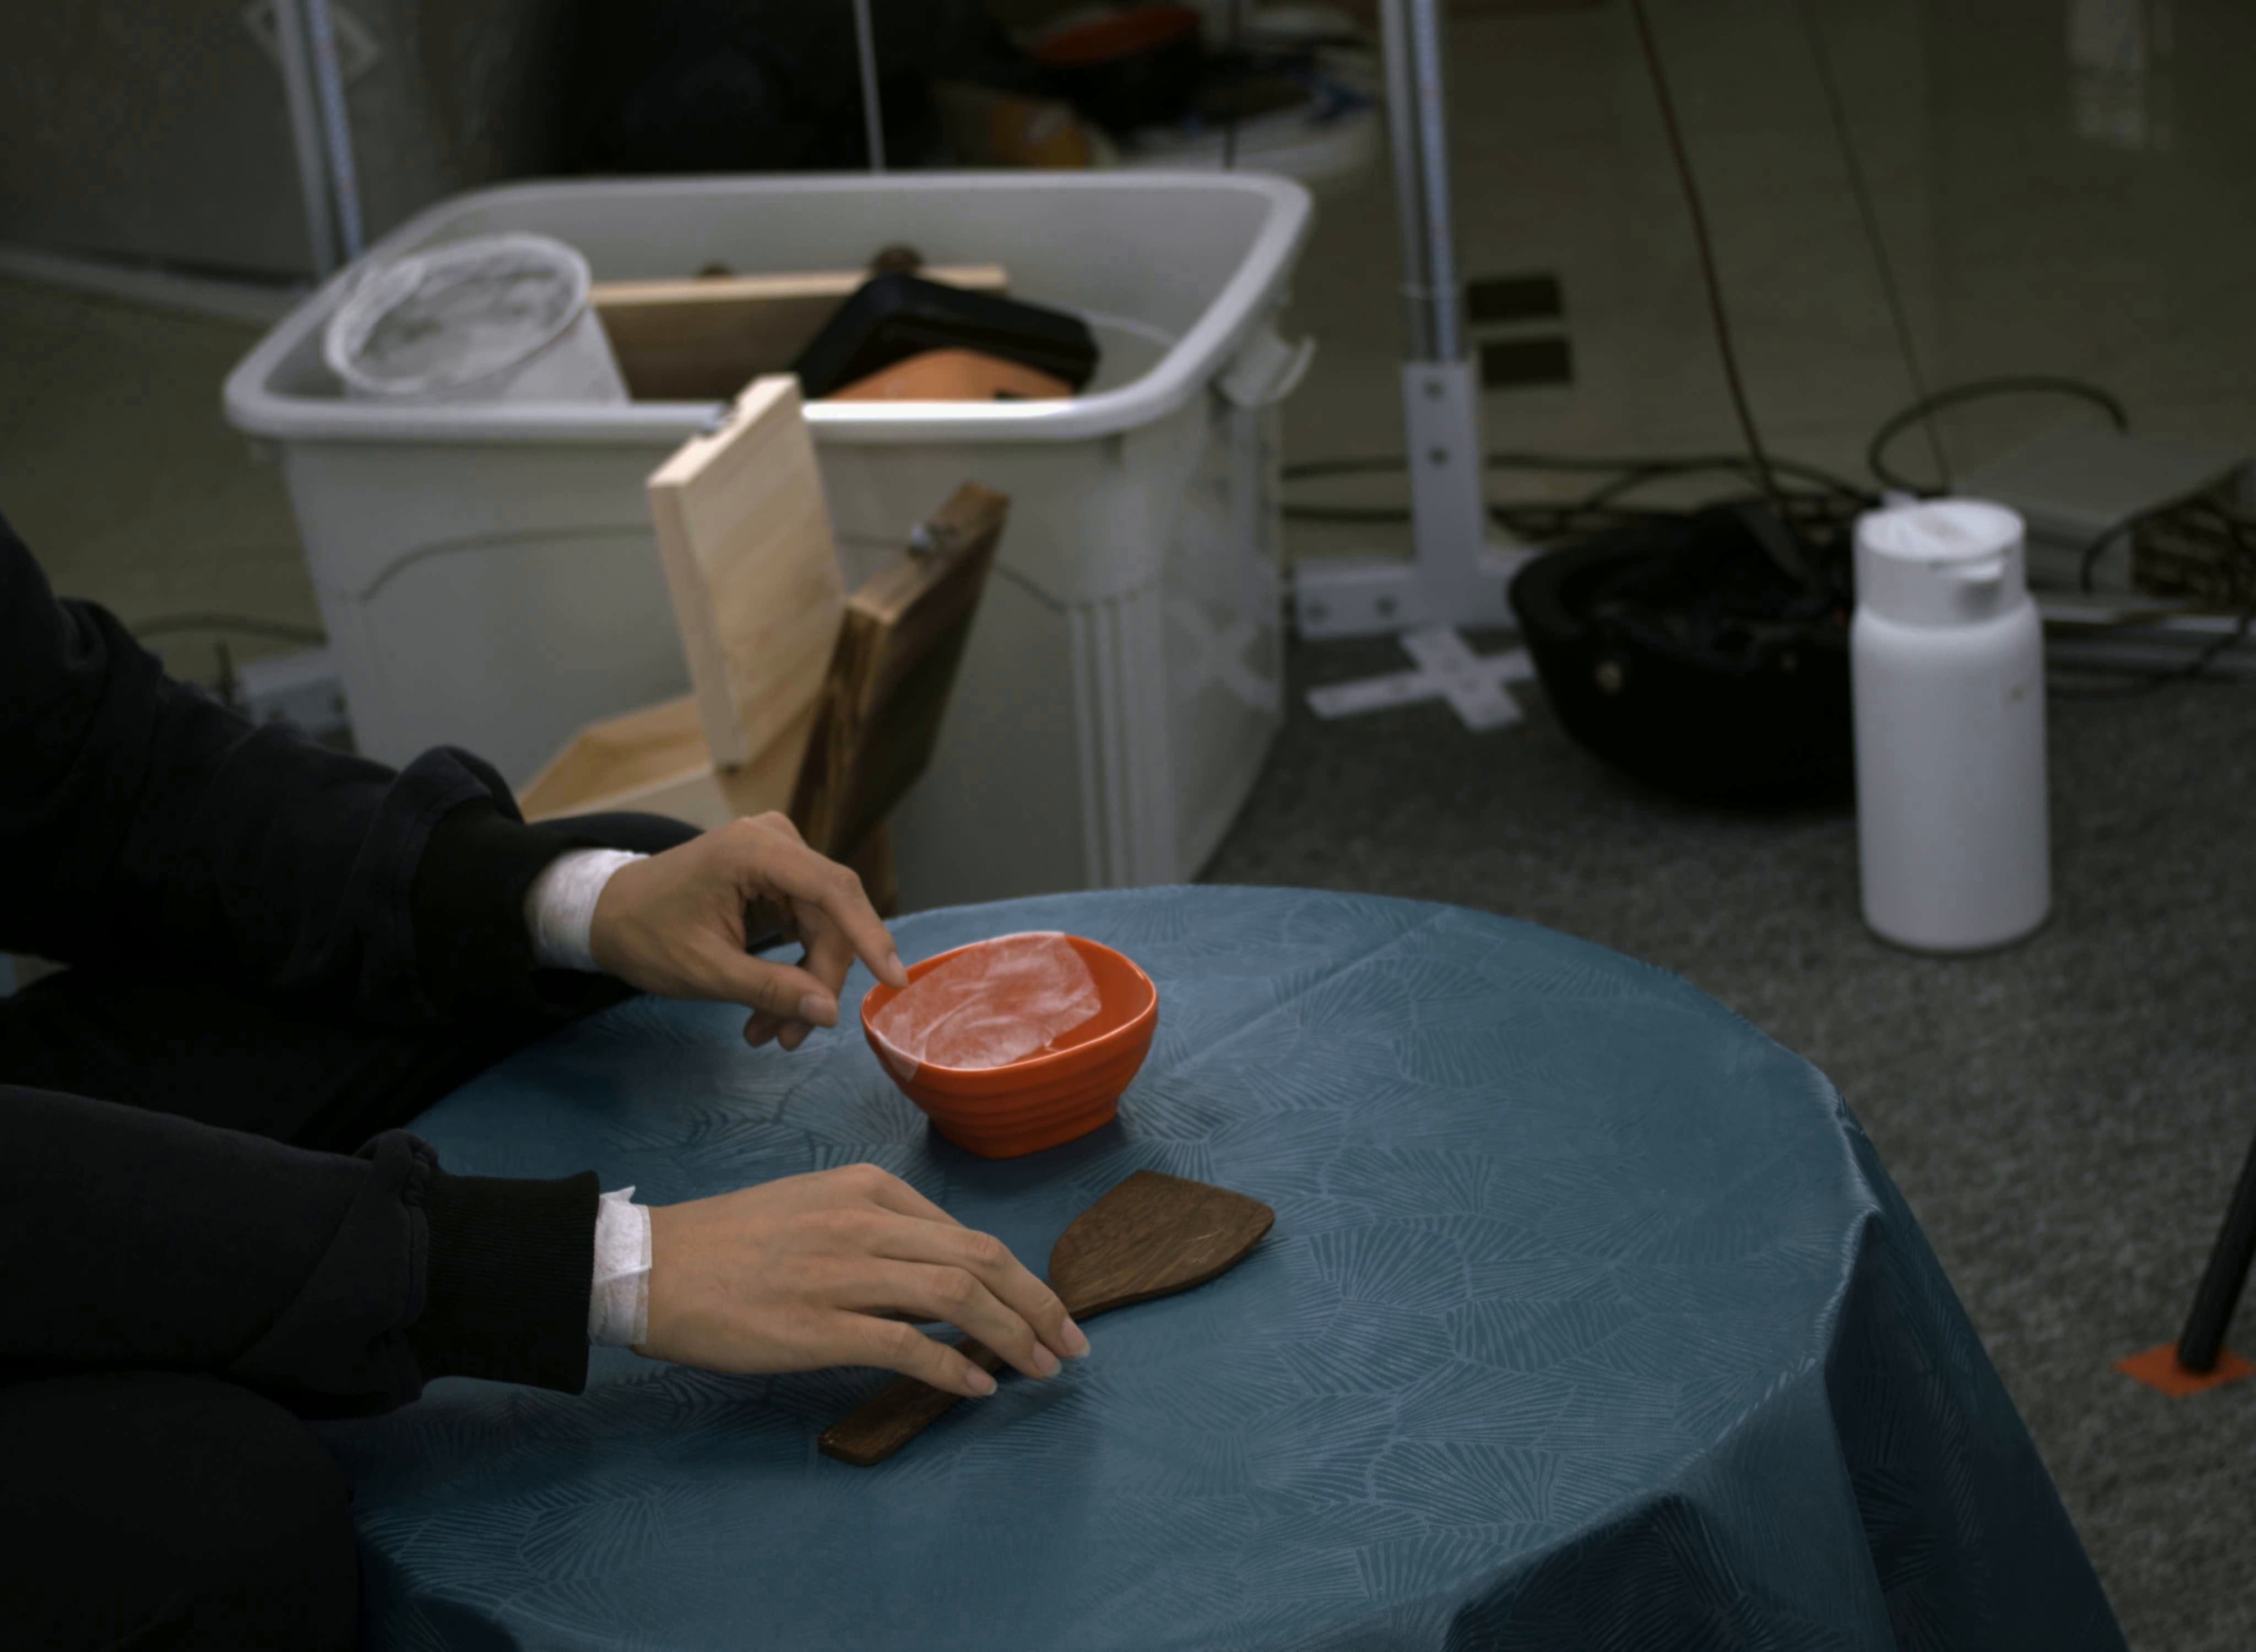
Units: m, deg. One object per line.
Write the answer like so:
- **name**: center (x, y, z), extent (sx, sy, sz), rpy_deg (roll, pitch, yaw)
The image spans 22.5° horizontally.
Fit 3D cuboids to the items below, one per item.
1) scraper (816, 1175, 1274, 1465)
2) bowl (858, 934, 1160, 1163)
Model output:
- **scraper**: center (-0.035, 0.181, 2.063), extent (0.075, 0.011, 0.209), rpy_deg (14, 32, 39)
- **bowl**: center (-0.044, 0.091, 2.208), extent (0.119, 0.052, 0.117), rpy_deg (-4, 26, 2)
